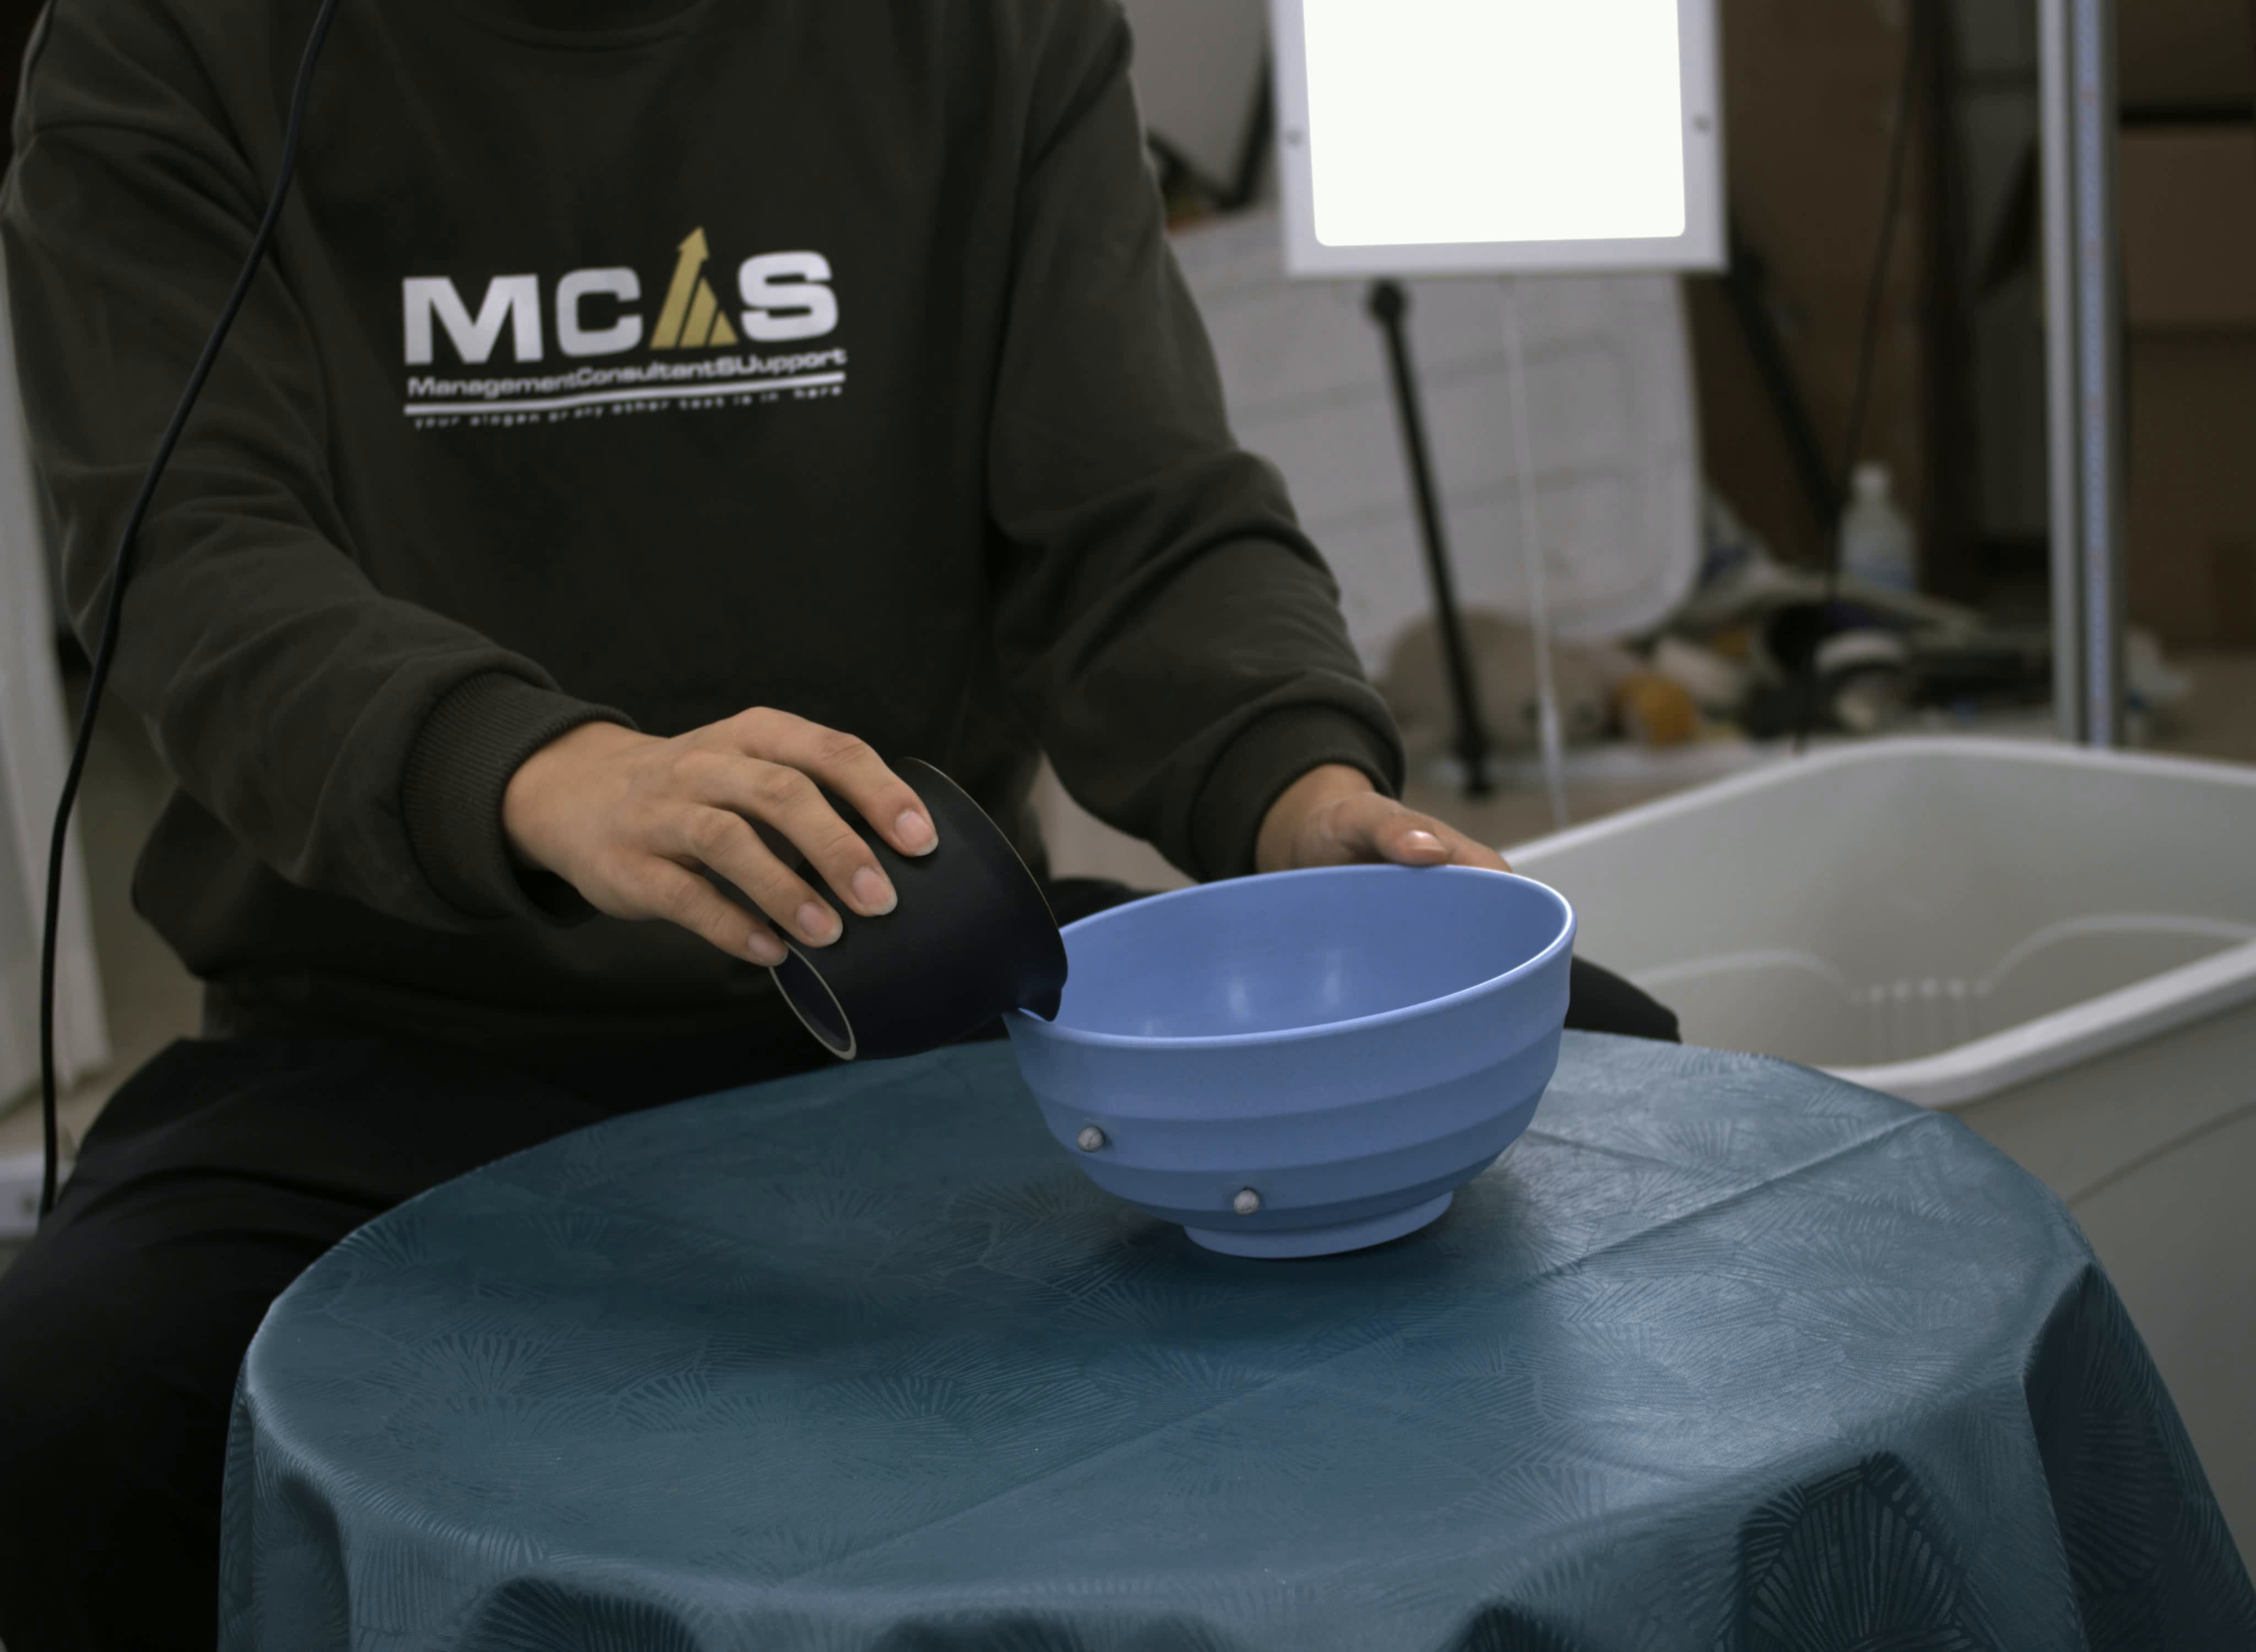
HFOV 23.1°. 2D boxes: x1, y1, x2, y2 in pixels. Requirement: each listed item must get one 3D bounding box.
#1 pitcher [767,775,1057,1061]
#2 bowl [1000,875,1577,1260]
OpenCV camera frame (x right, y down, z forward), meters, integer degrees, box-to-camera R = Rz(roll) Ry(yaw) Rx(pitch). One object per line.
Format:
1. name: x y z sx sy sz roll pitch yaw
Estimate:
1. pitcher: -0.073 0.039 1.790 0.070 0.095 0.085 -36 17 -19
2. bowl: 0.059 0.086 1.840 0.196 0.096 0.196 -9 13 1
